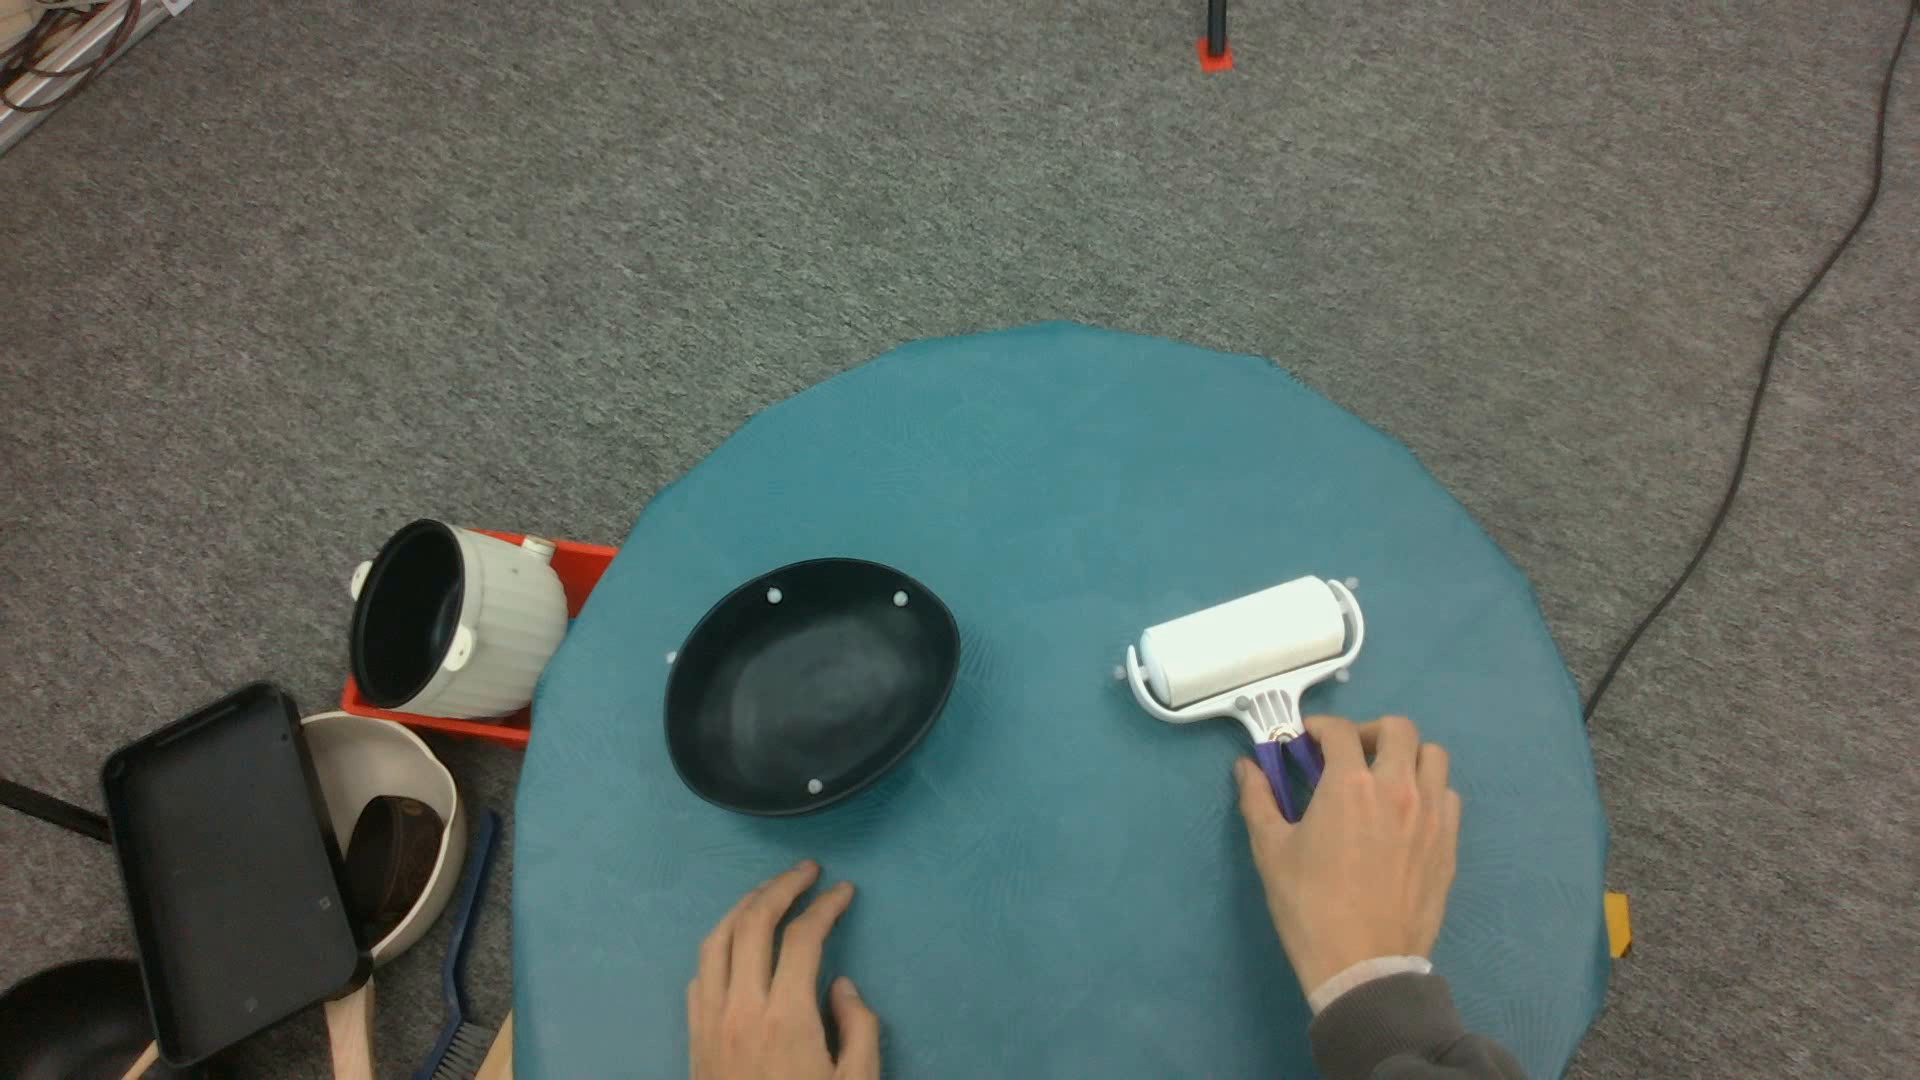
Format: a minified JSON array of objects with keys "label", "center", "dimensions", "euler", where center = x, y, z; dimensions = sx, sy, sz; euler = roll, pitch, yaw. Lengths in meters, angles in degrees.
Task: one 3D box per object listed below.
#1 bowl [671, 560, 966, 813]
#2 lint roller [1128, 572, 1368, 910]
[{"label":"bowl","center":[-0.077,0.086,0.780],"dimensions":[0.170,0.066,0.137],"euler":[-31,67,-10]},{"label":"lint roller","center":[0.176,0.111,0.750],"dimensions":[0.133,0.050,0.181],"euler":[-16,62,-2]}]
